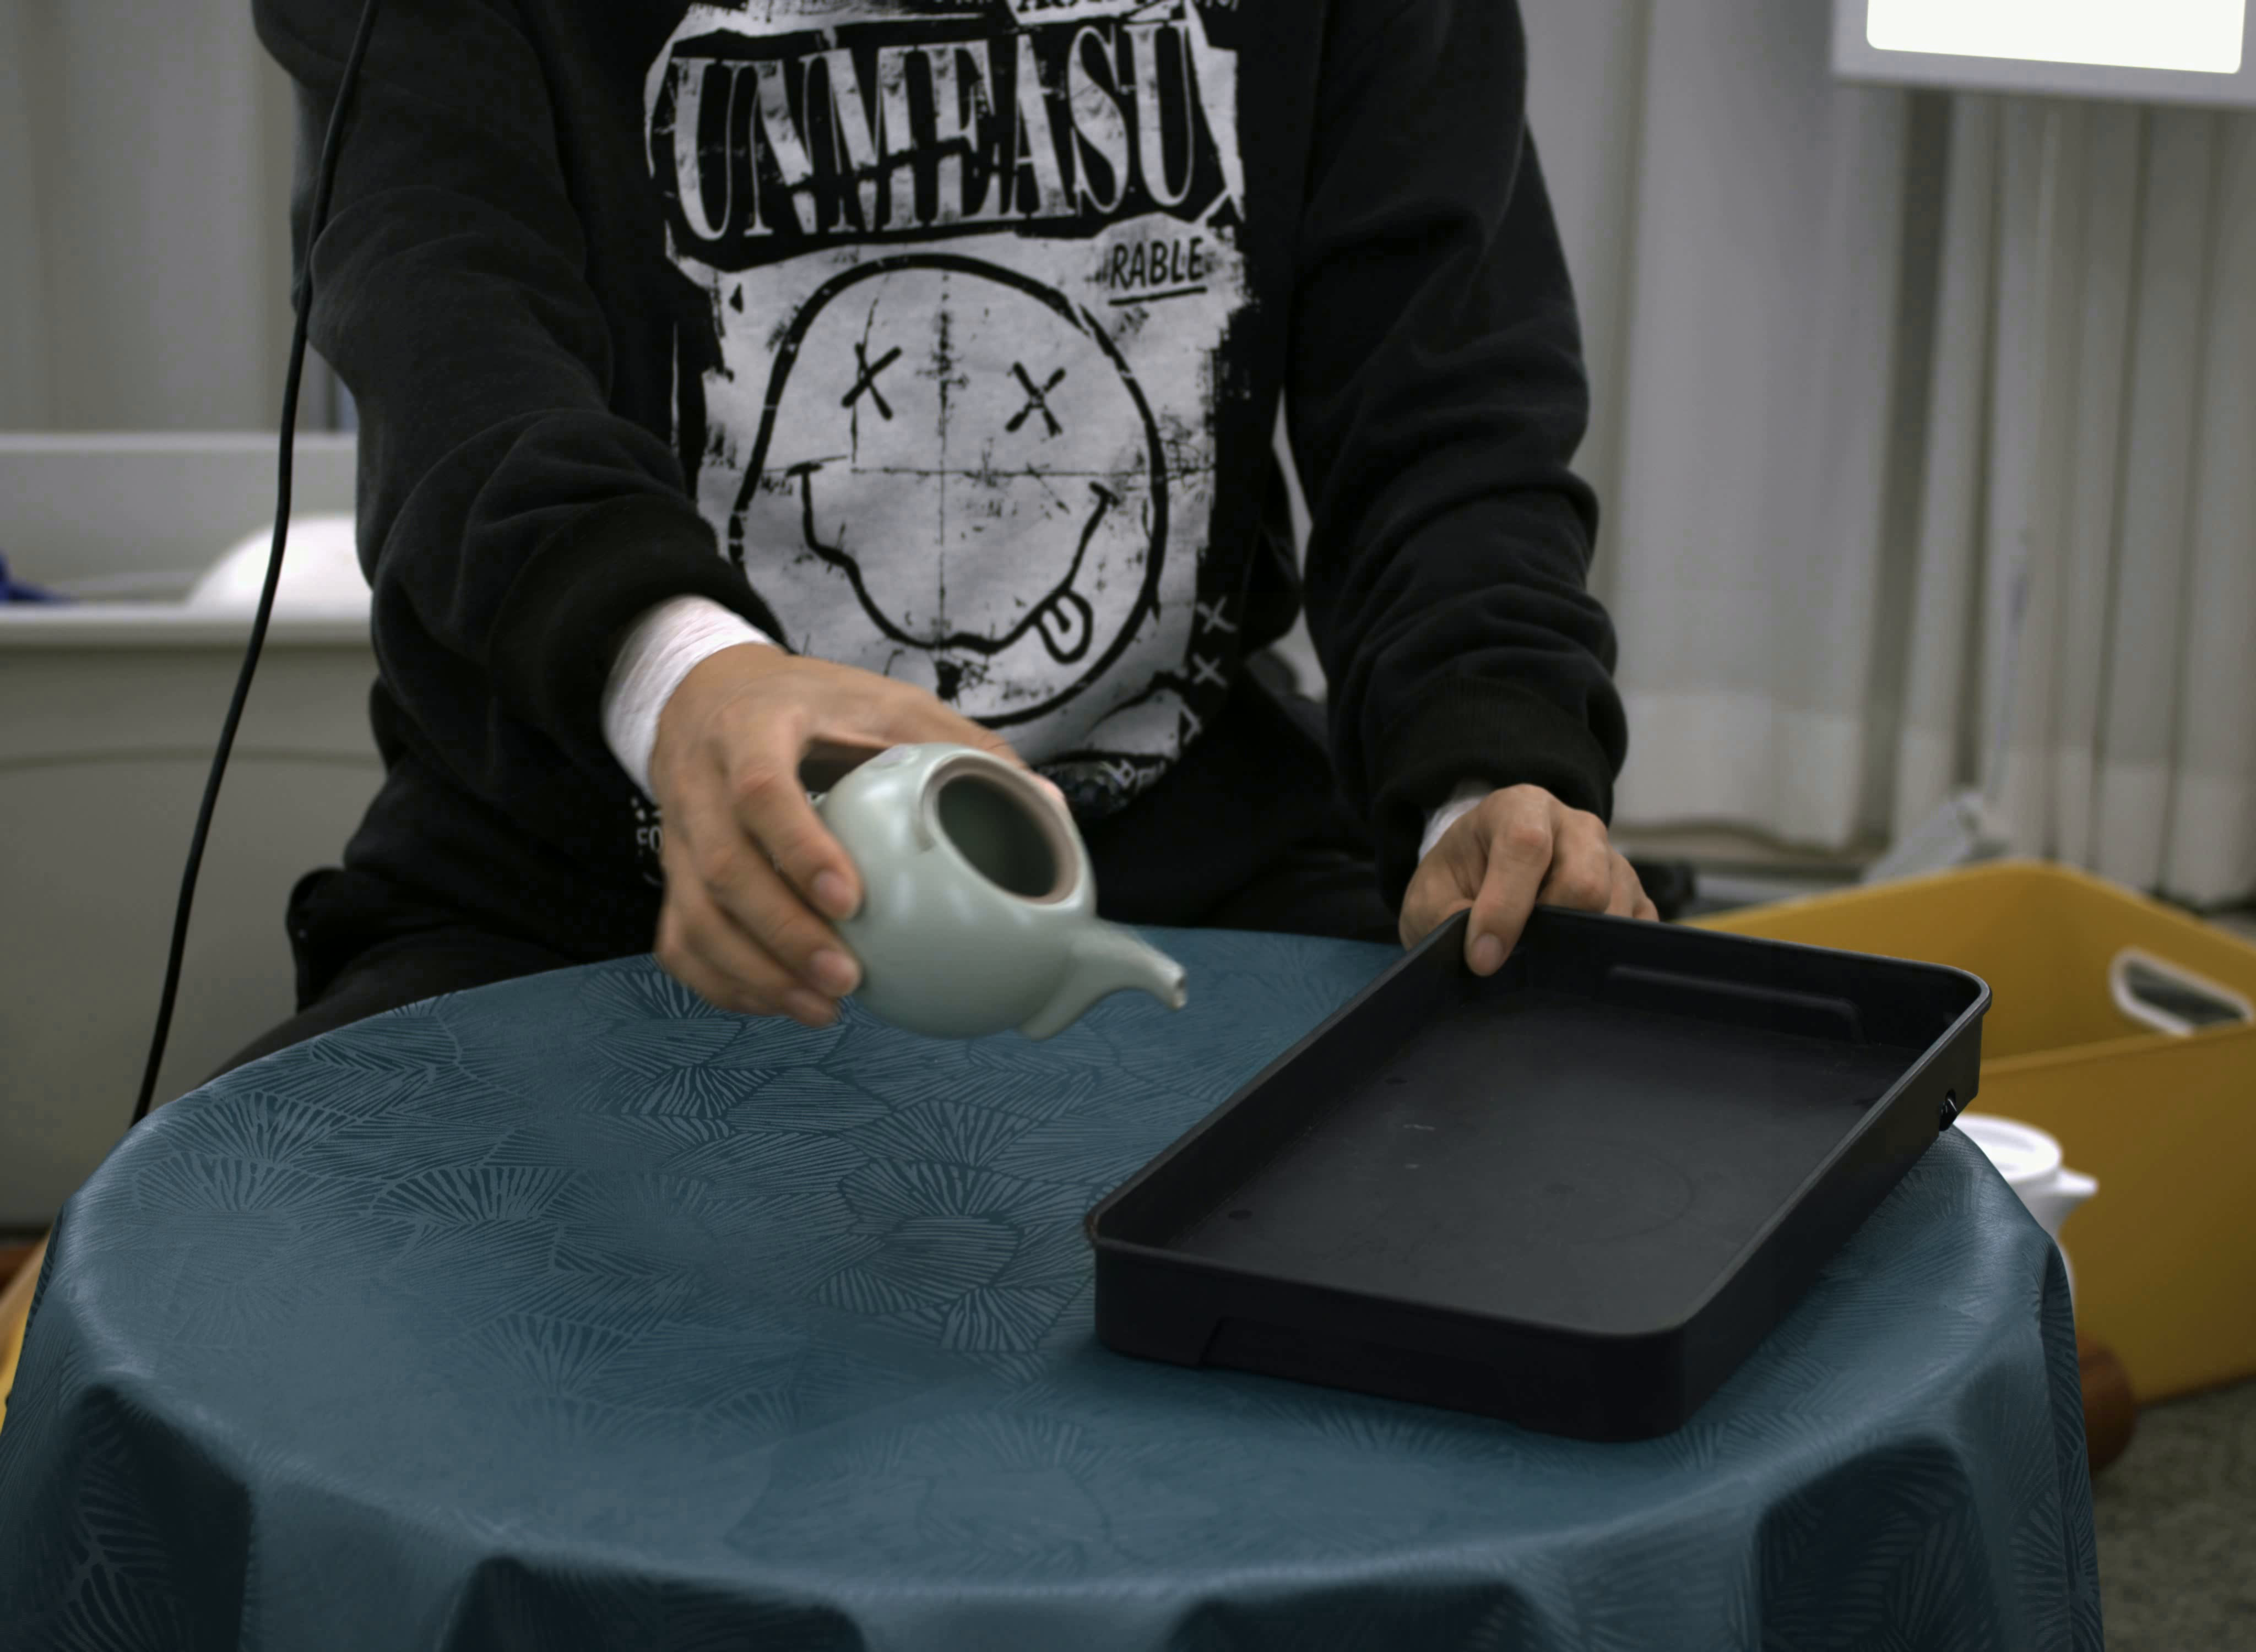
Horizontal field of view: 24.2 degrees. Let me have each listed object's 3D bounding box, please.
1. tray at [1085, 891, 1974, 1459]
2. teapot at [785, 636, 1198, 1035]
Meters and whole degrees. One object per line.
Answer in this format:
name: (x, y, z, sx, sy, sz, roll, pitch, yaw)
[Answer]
tray: (0.127, 0.096, 1.577, 0.182, 0.037, 0.318, 9, 22, 22)
teapot: (-0.049, 0.015, 1.514, 0.074, 0.144, 0.088, -40, 5, 32)
